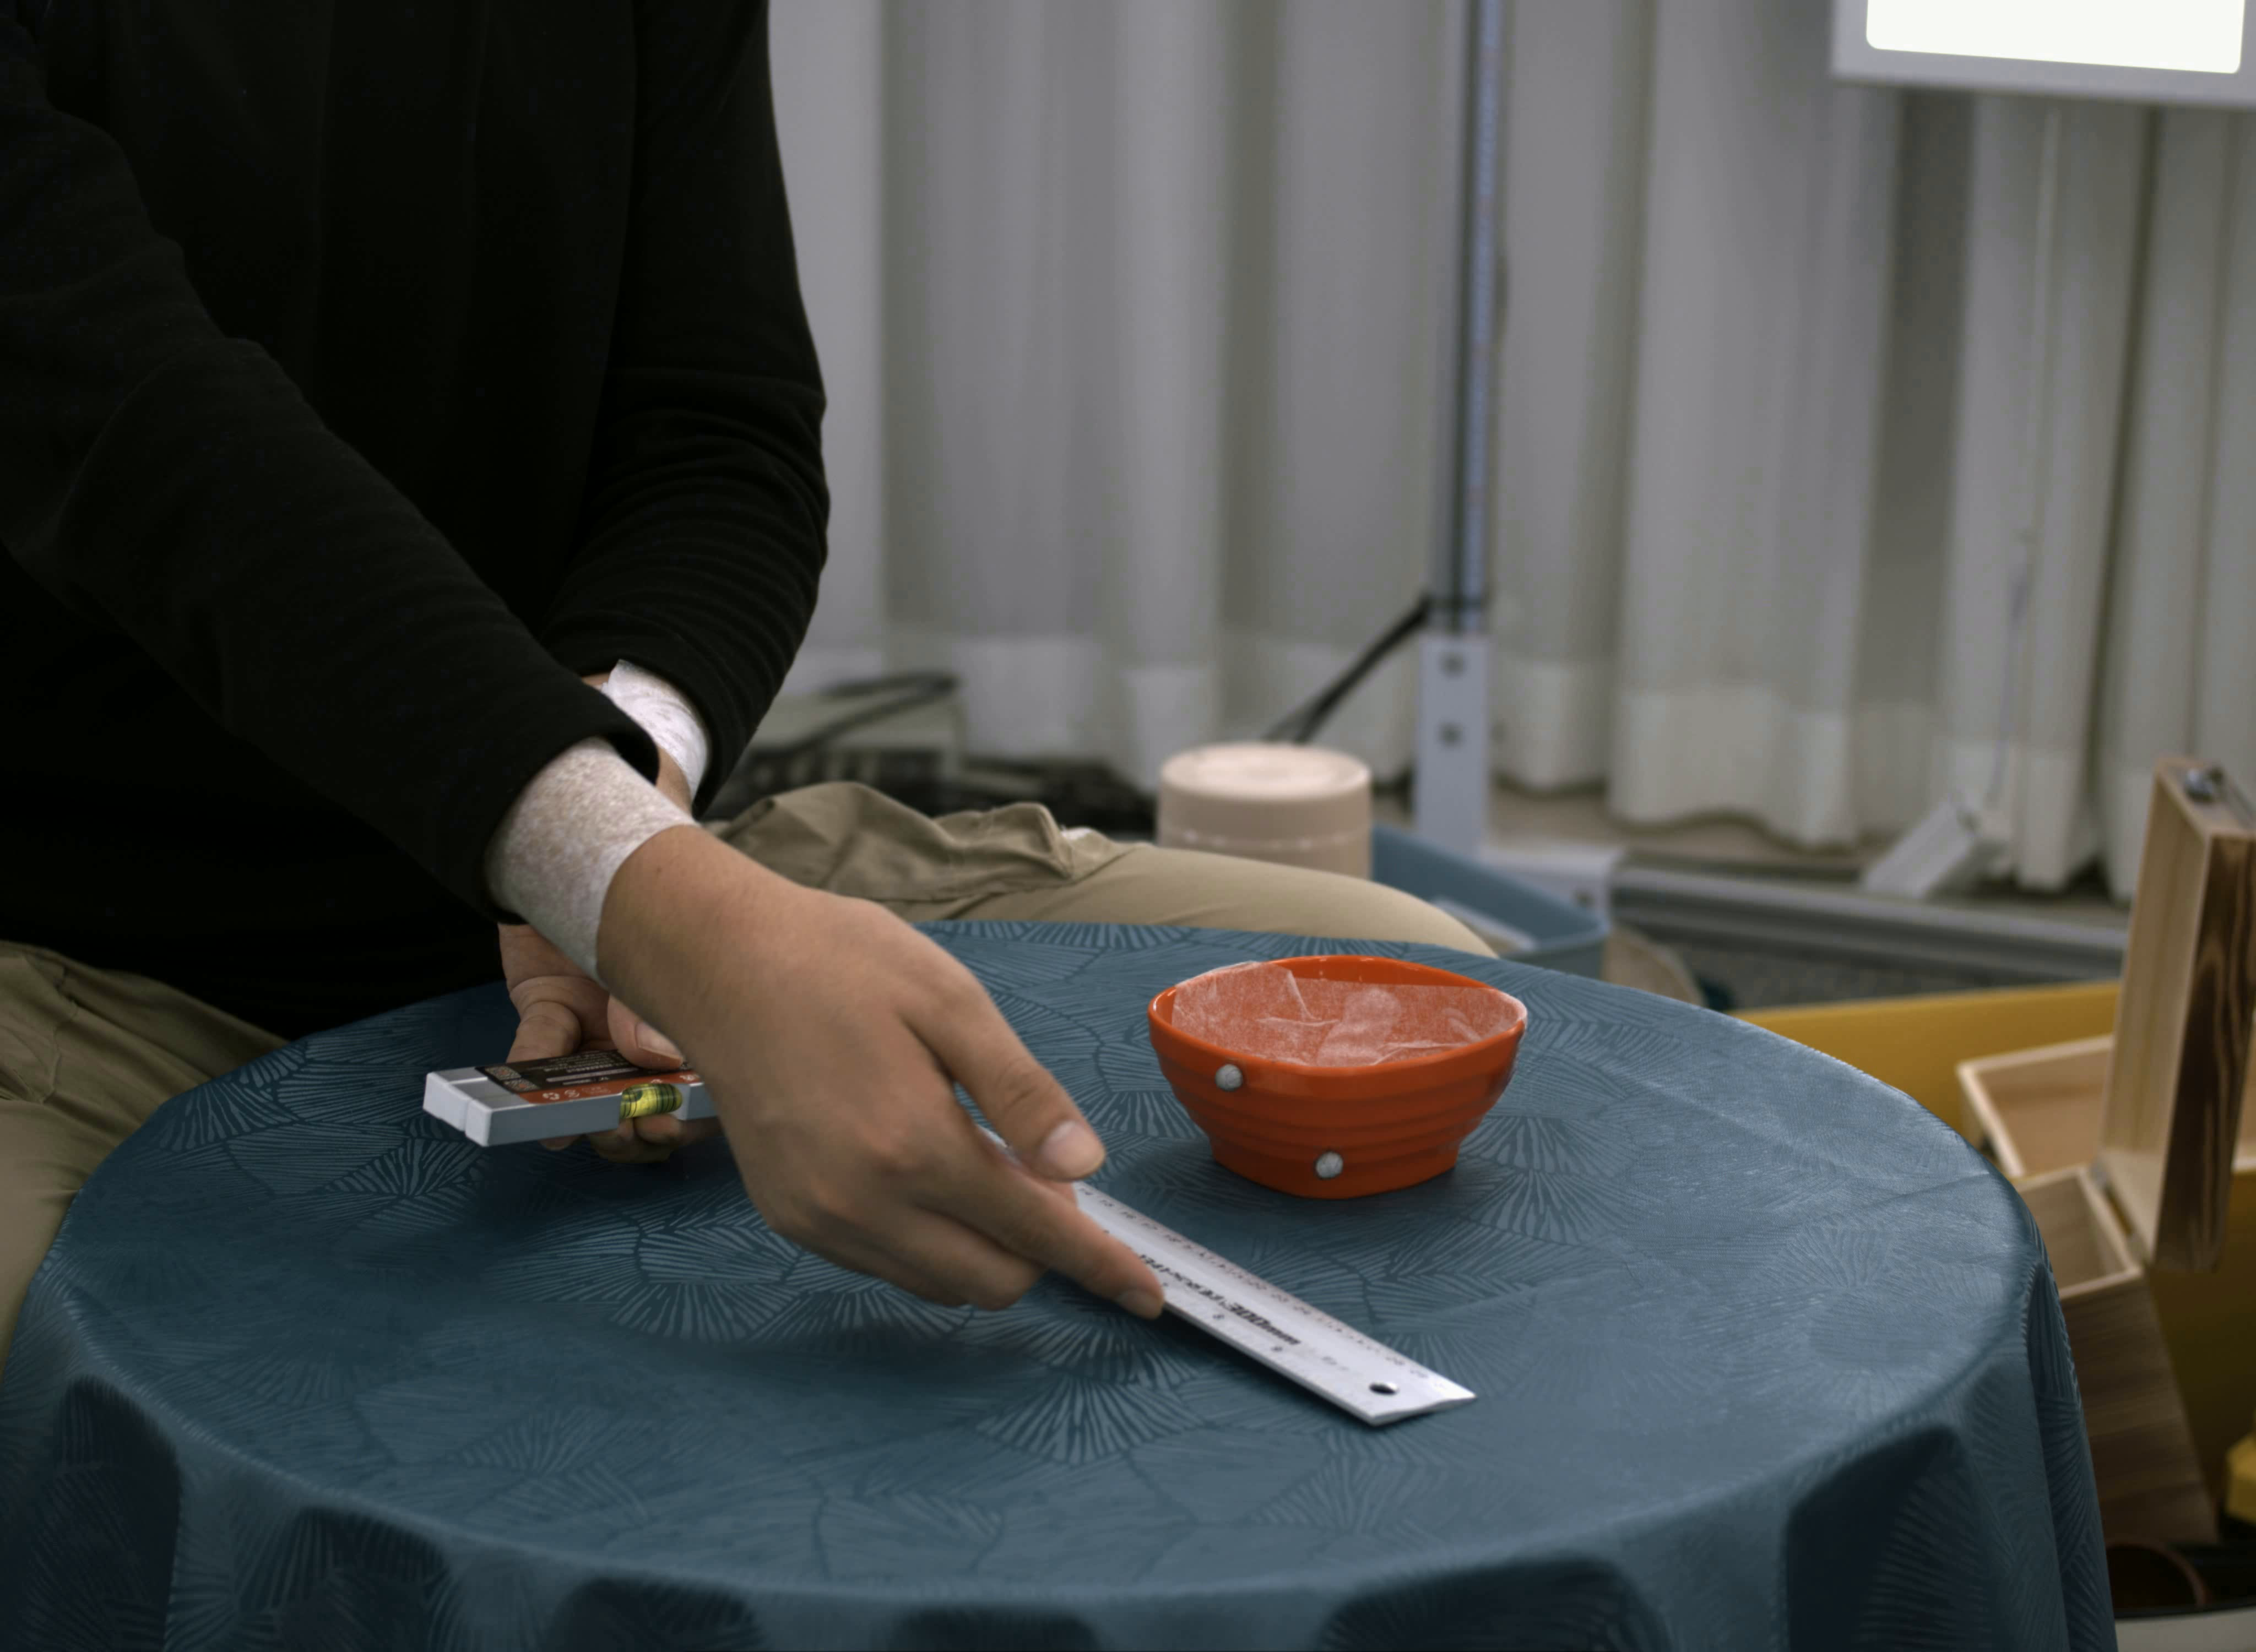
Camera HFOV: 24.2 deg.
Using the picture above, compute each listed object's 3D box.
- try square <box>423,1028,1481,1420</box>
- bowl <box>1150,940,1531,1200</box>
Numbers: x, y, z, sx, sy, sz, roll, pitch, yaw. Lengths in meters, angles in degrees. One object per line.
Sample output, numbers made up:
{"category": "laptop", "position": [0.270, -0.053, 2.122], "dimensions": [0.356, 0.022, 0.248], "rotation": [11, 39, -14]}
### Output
{"category": "try square", "position": [-0.057, 0.118, 1.519], "dimensions": [0.153, 0.016, 0.308], "rotation": [-5, 20, -41]}
{"category": "bowl", "position": [0.065, 0.078, 1.642], "dimensions": [0.118, 0.052, 0.118], "rotation": [2, 19, 0]}
